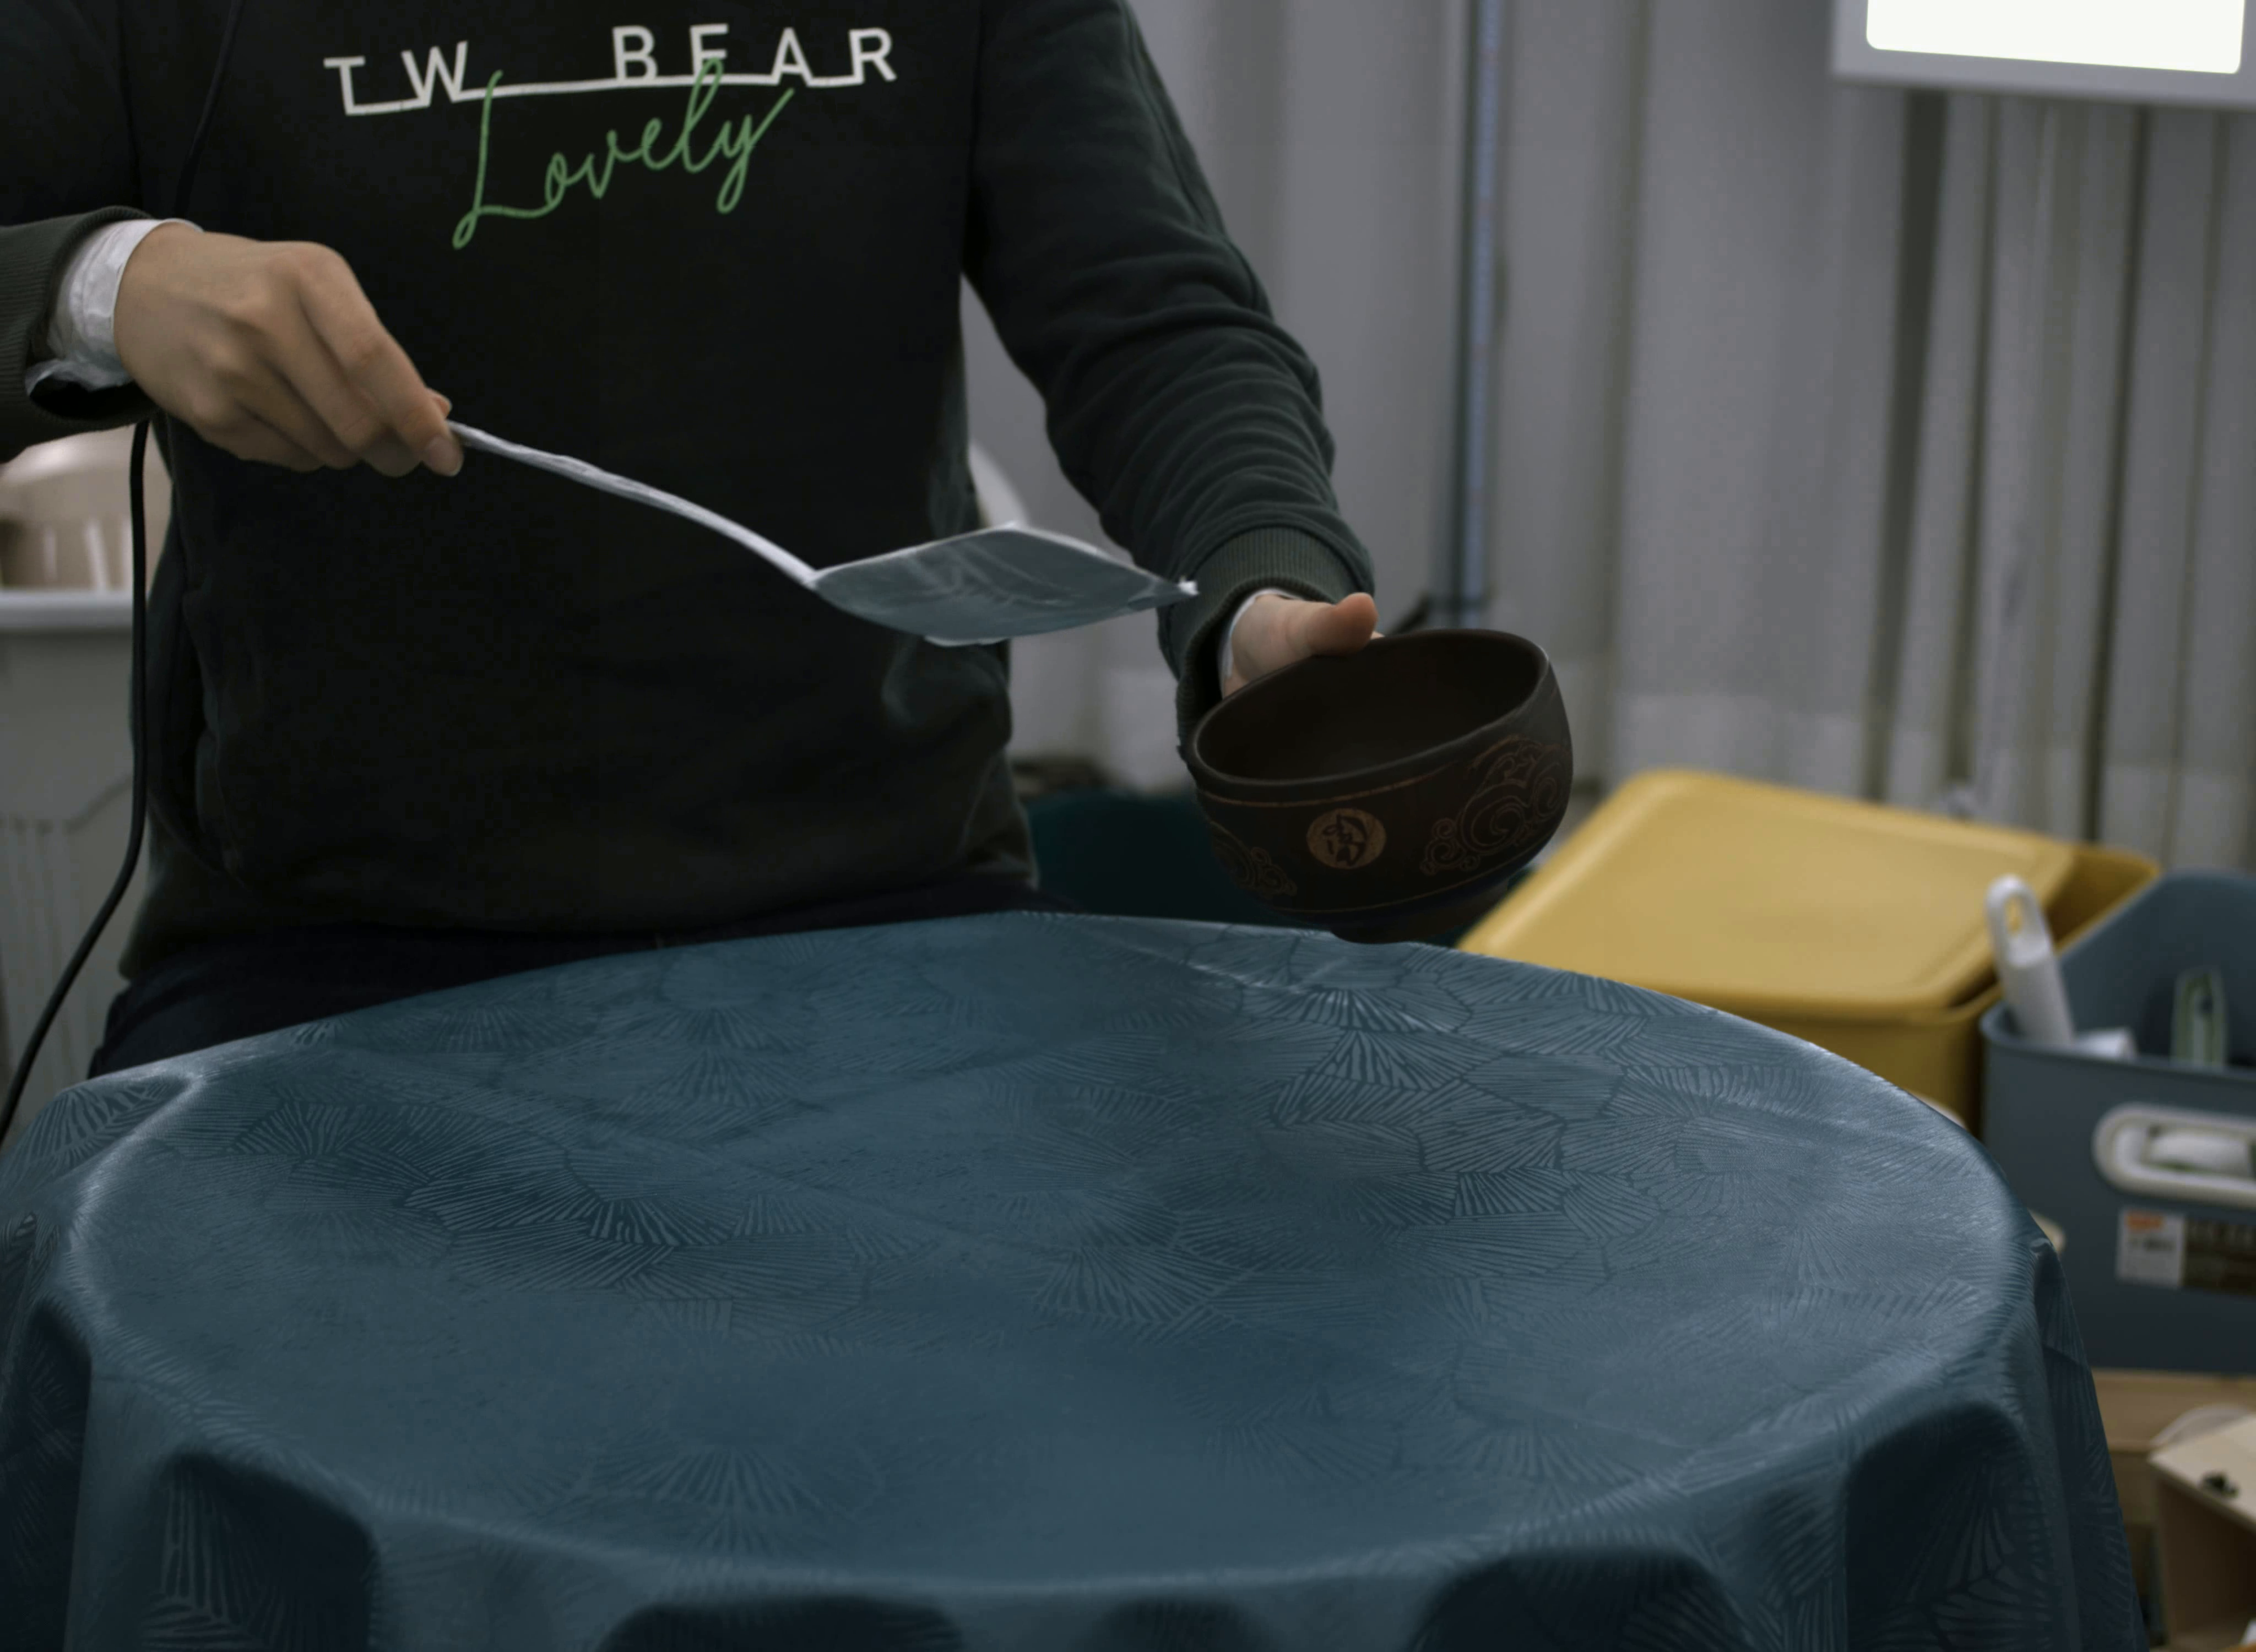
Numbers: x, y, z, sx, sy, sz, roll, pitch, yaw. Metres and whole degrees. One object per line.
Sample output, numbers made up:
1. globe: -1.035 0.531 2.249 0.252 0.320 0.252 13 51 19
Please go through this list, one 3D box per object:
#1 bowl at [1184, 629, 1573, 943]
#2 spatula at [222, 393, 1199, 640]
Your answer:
1. bowl: 0.081 -0.007 1.617 0.117 0.070 0.117 -13 20 5
2. spatula: -0.143 -0.102 1.554 0.360 0.045 0.099 19 4 33
